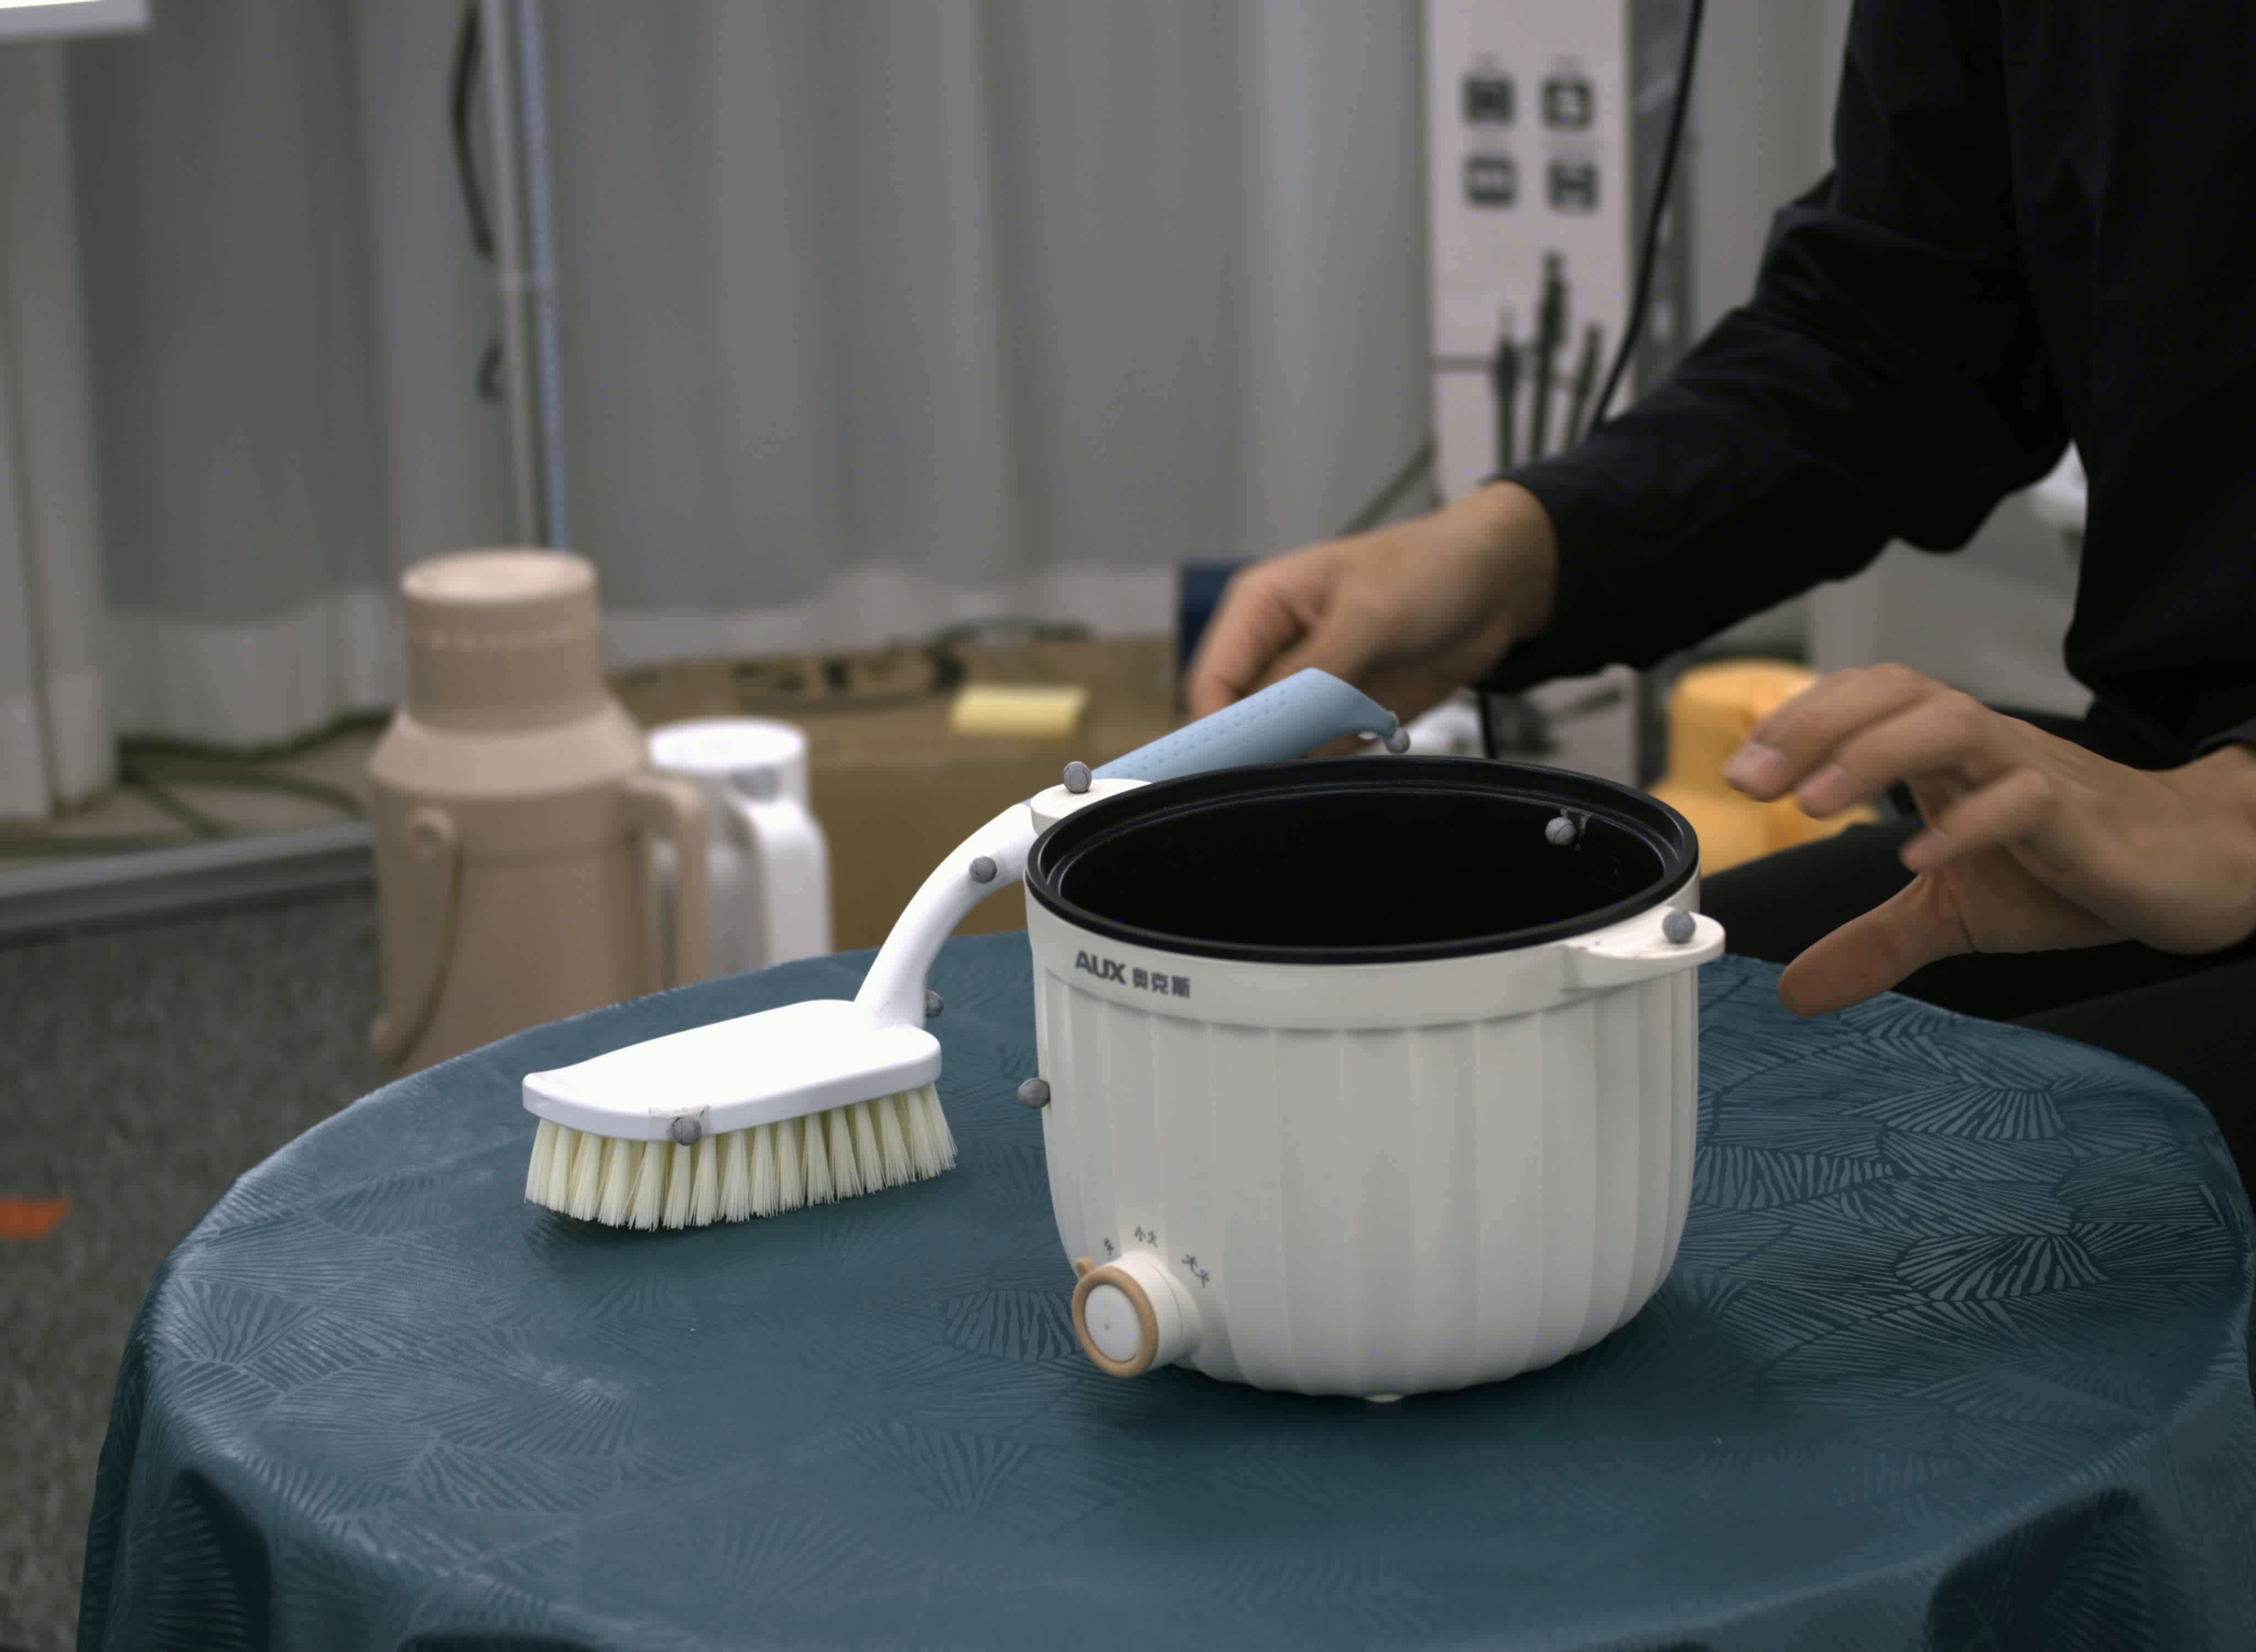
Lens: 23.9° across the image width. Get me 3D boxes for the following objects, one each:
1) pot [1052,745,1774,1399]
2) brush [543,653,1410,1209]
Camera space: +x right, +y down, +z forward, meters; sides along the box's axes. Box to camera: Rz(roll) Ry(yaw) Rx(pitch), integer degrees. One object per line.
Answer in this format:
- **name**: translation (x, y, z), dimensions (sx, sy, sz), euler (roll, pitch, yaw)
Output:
- **pot**: translation (0.070, 0.068, 1.419), dimensions (0.186, 0.143, 0.246), euler (-14, 18, -43)
- **brush**: translation (-0.034, 0.048, 1.625), dimensions (0.320, 0.084, 0.084), euler (-26, 61, -27)
